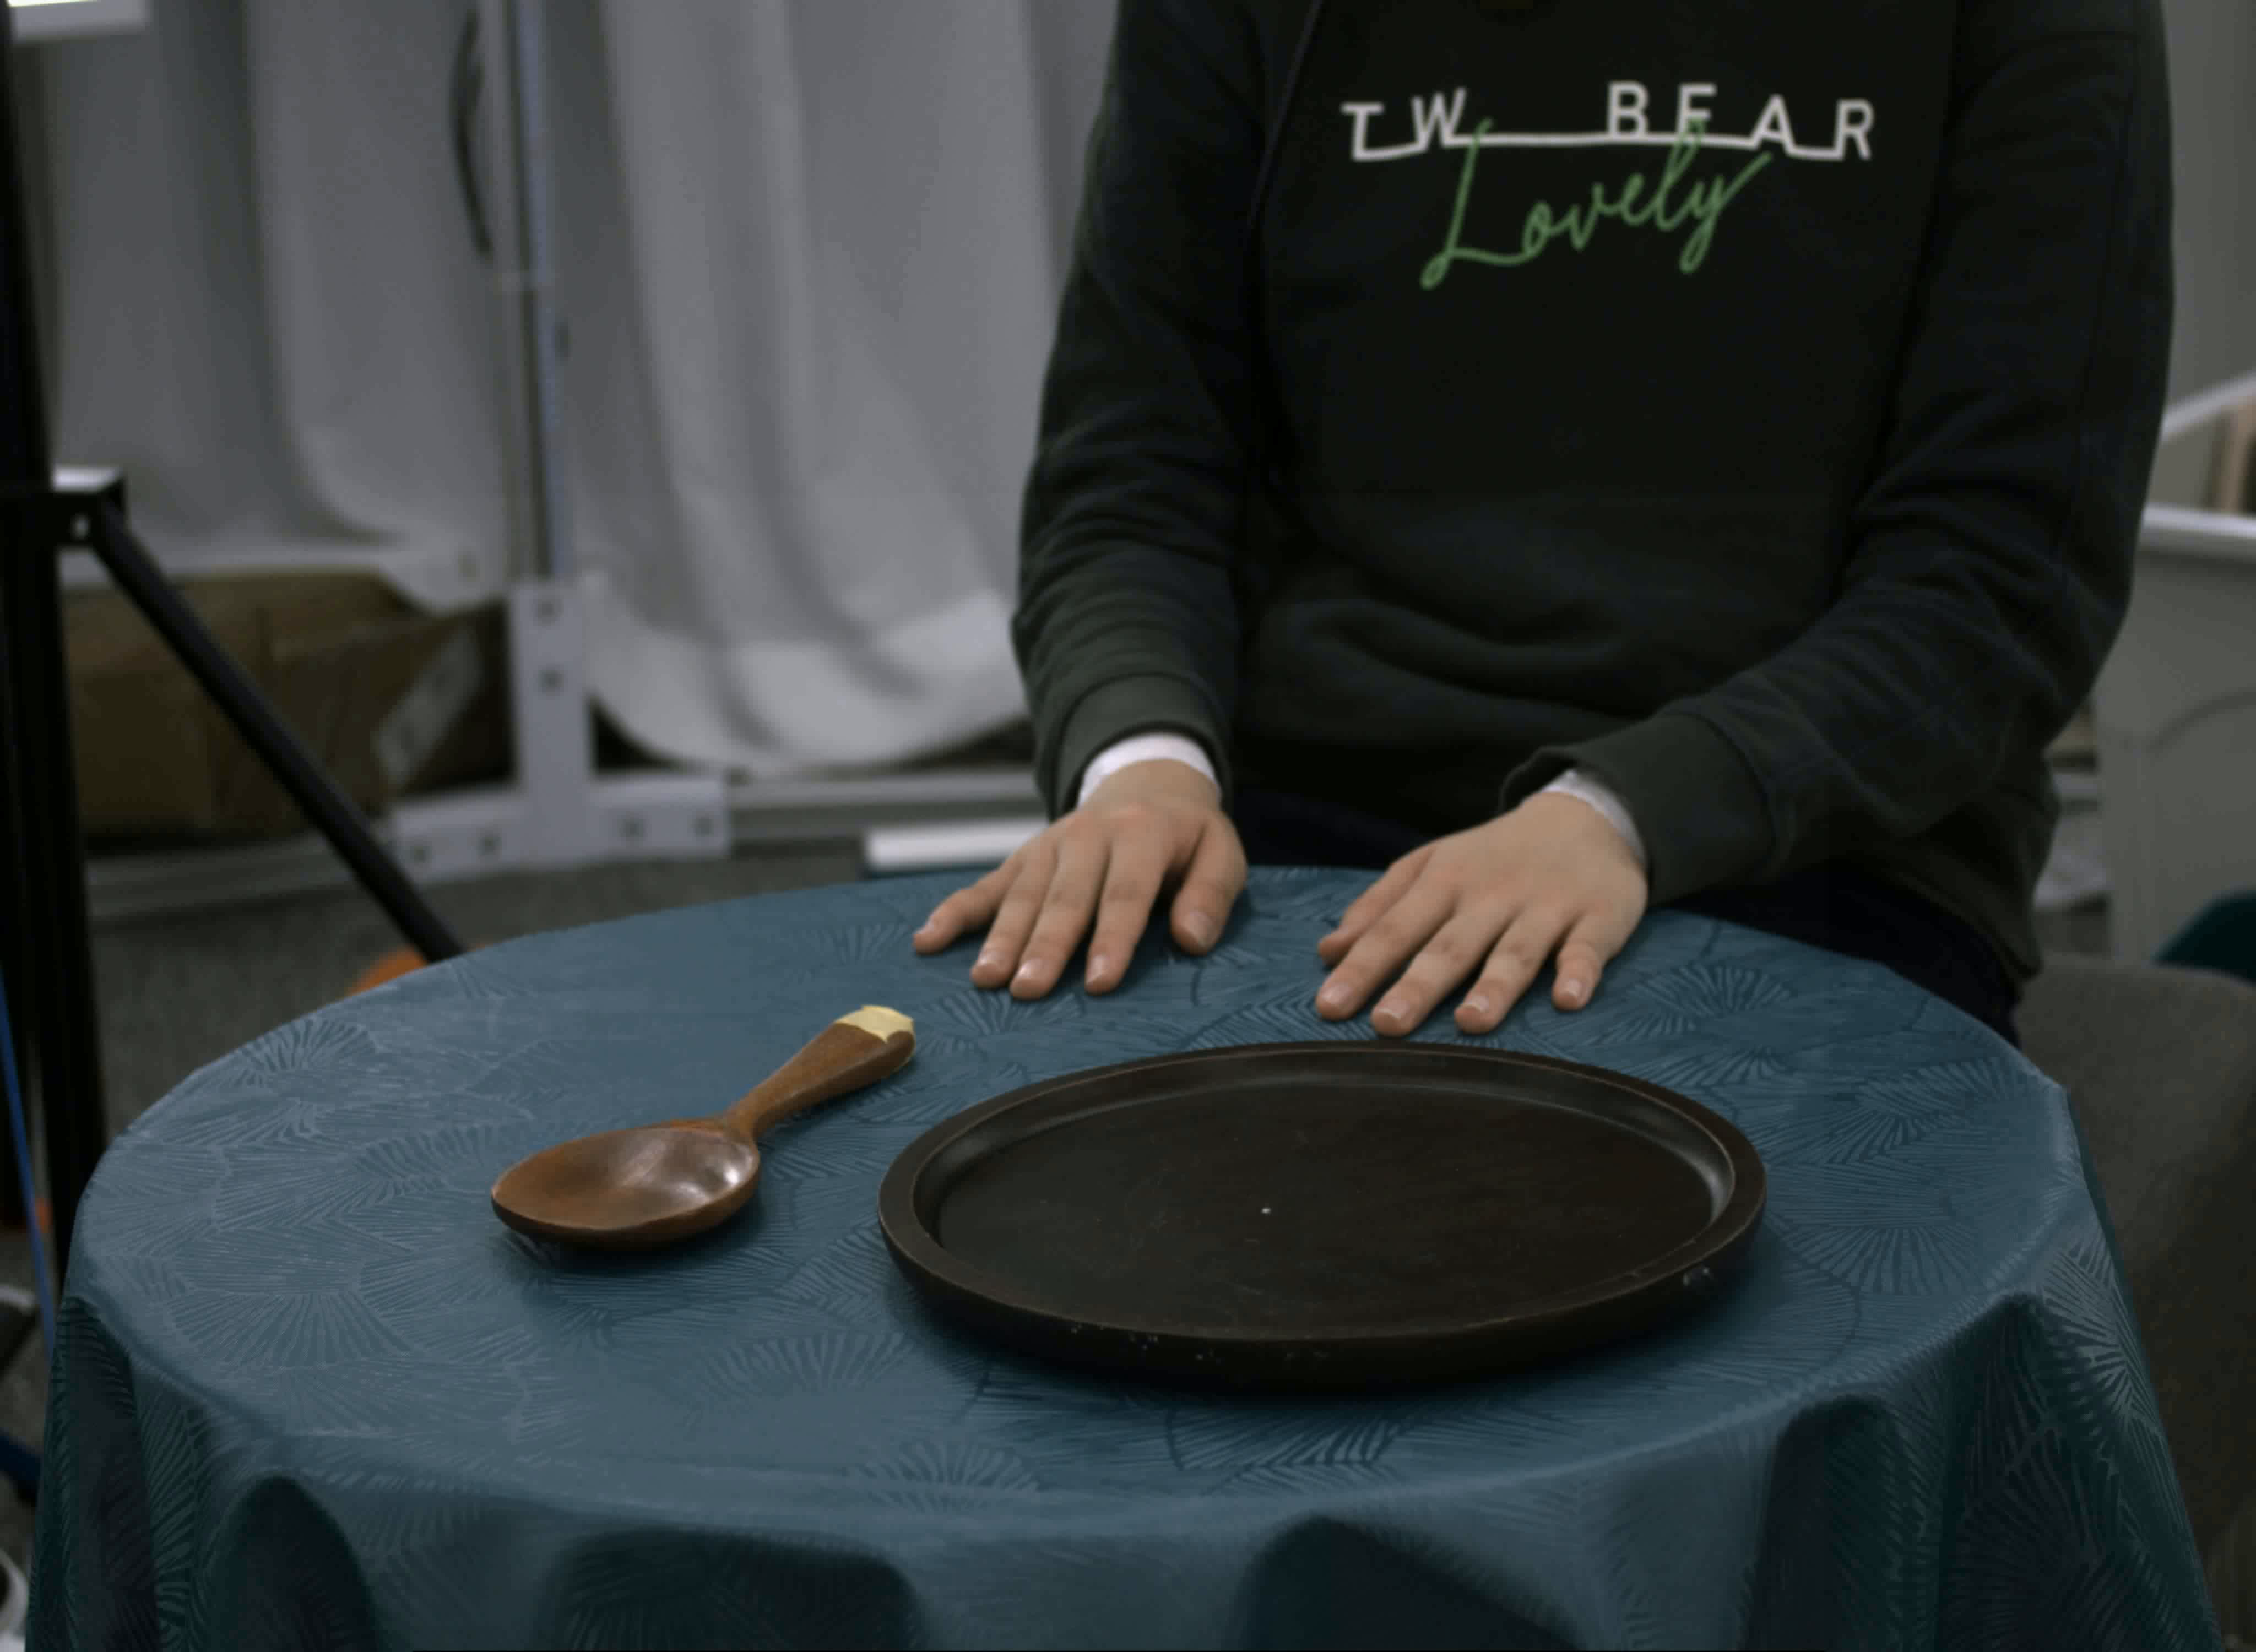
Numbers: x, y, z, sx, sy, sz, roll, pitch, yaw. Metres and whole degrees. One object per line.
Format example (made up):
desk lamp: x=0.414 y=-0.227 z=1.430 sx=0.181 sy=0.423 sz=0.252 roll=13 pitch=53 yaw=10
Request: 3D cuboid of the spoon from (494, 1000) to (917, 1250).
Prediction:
spoon: x=-0.118 y=0.091 z=1.605 sx=0.076 sy=0.017 sz=0.212 roll=5 pitch=18 yaw=24

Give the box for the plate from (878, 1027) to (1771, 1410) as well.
plate: x=0.055 y=0.110 z=1.500 sx=0.253 sy=0.029 sz=0.256 roll=-2 pitch=17 yaw=-1
